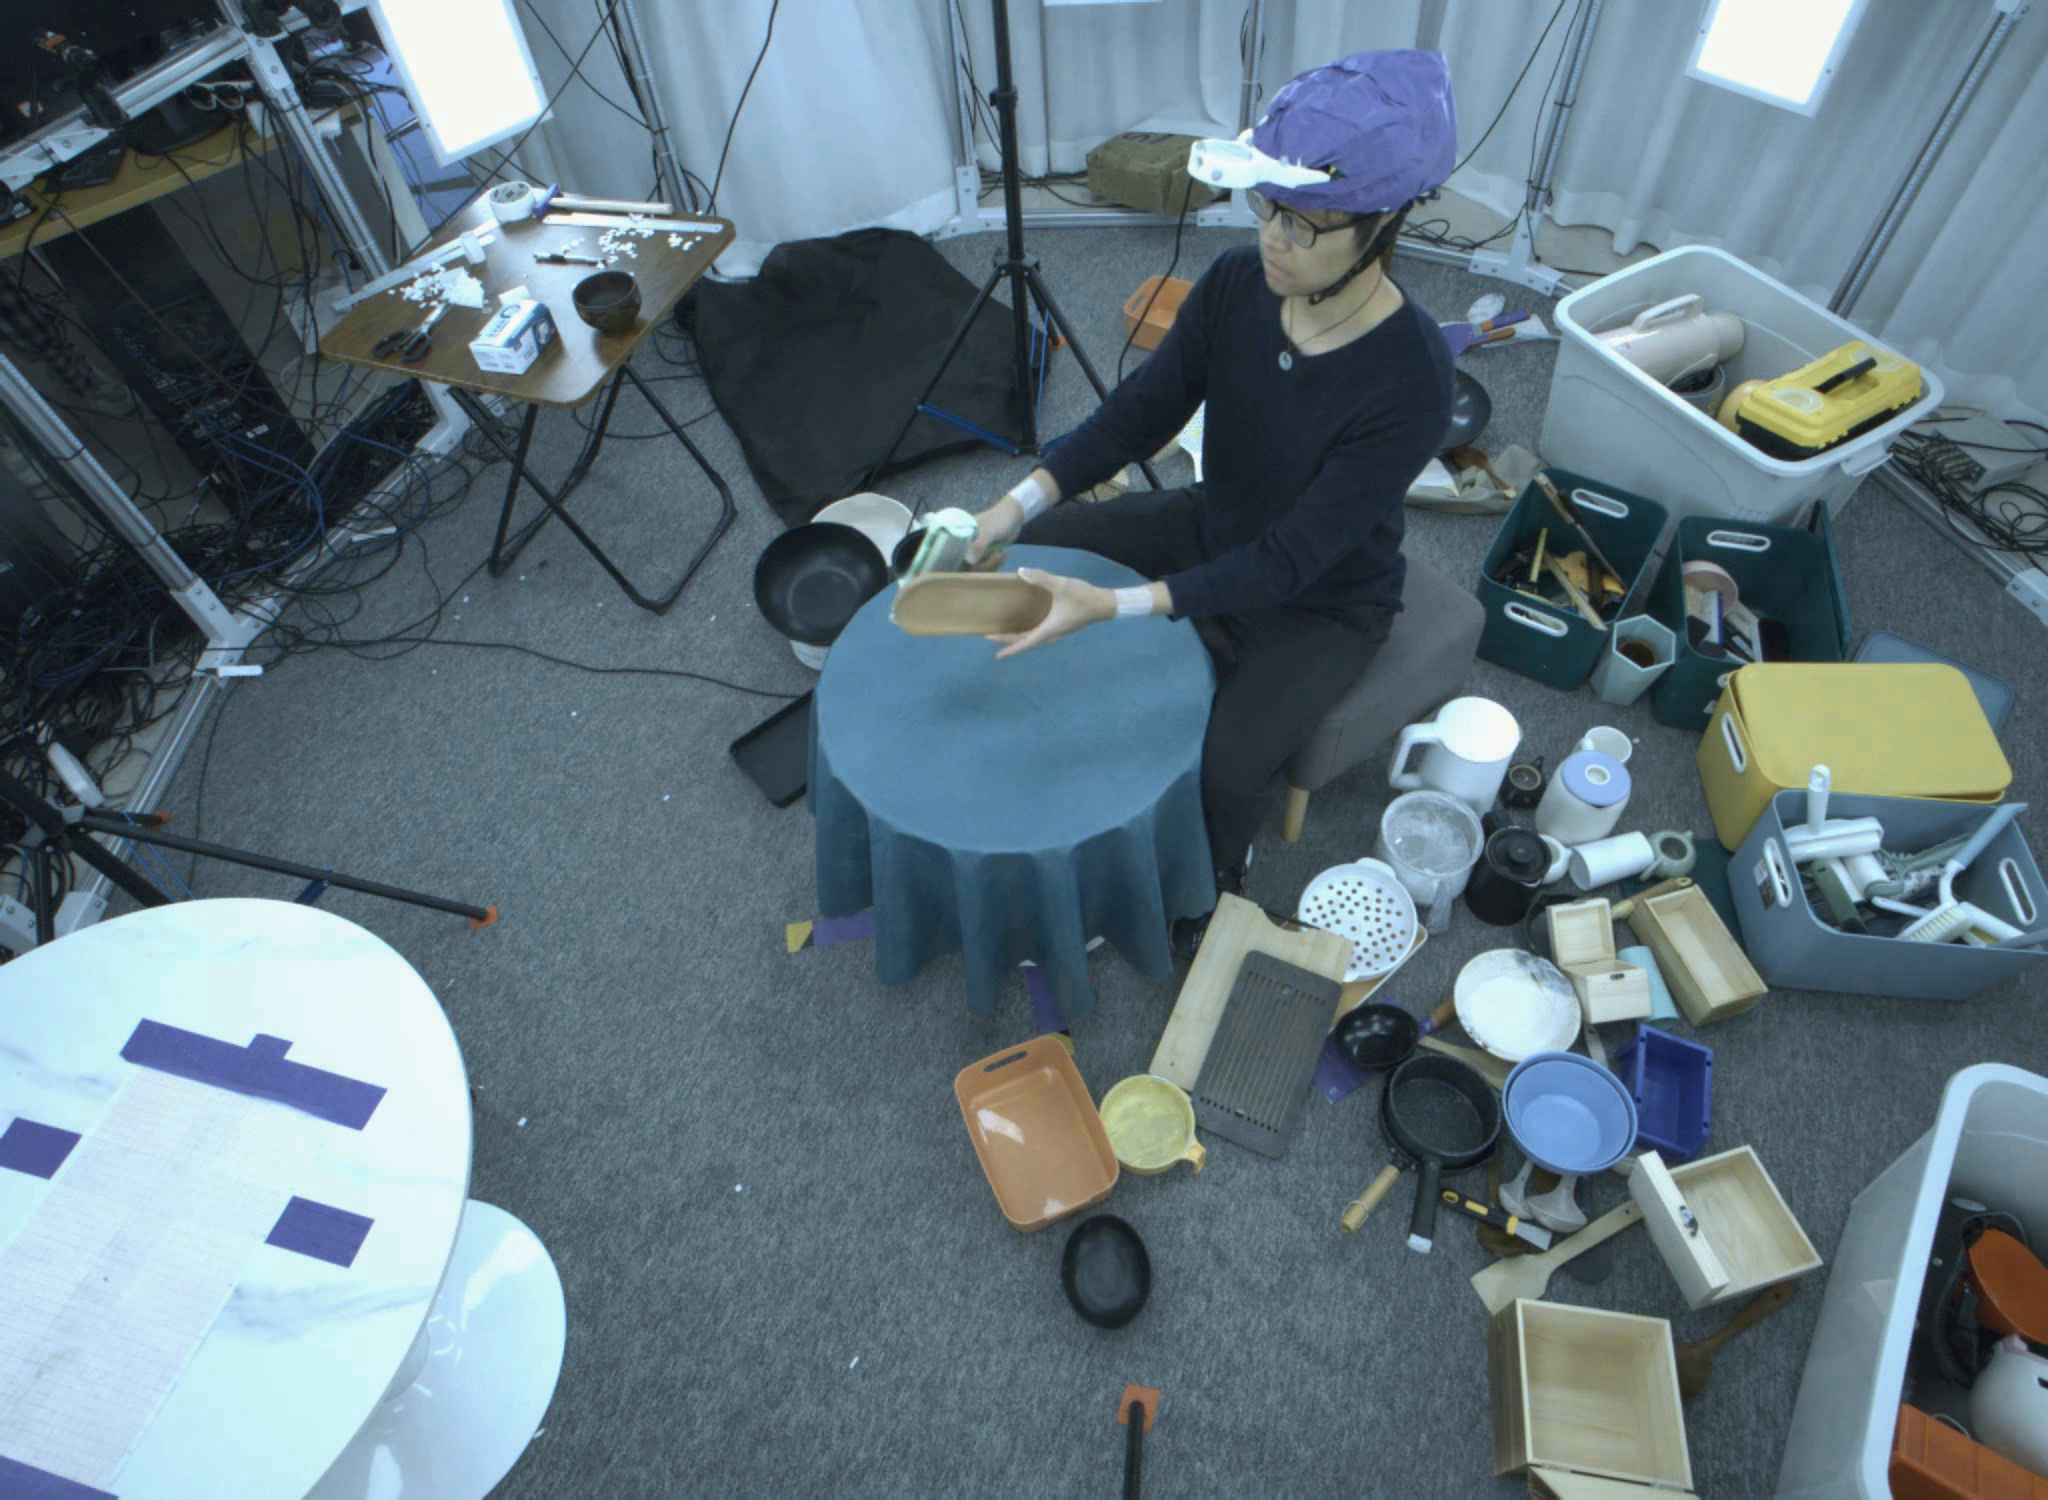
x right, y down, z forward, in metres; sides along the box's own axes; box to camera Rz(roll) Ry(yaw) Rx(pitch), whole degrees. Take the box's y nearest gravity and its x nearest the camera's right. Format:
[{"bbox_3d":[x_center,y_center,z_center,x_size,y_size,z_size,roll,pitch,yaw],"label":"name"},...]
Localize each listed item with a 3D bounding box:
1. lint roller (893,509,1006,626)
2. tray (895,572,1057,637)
[{"bbox_3d":[-0.101,-0.278,1.721,0.082,0.198,0.184,39,45,5],"label":"lint roller"},{"bbox_3d":[-0.064,-0.197,1.648,0.235,0.102,0.020,-5,49,-27],"label":"tray"}]
